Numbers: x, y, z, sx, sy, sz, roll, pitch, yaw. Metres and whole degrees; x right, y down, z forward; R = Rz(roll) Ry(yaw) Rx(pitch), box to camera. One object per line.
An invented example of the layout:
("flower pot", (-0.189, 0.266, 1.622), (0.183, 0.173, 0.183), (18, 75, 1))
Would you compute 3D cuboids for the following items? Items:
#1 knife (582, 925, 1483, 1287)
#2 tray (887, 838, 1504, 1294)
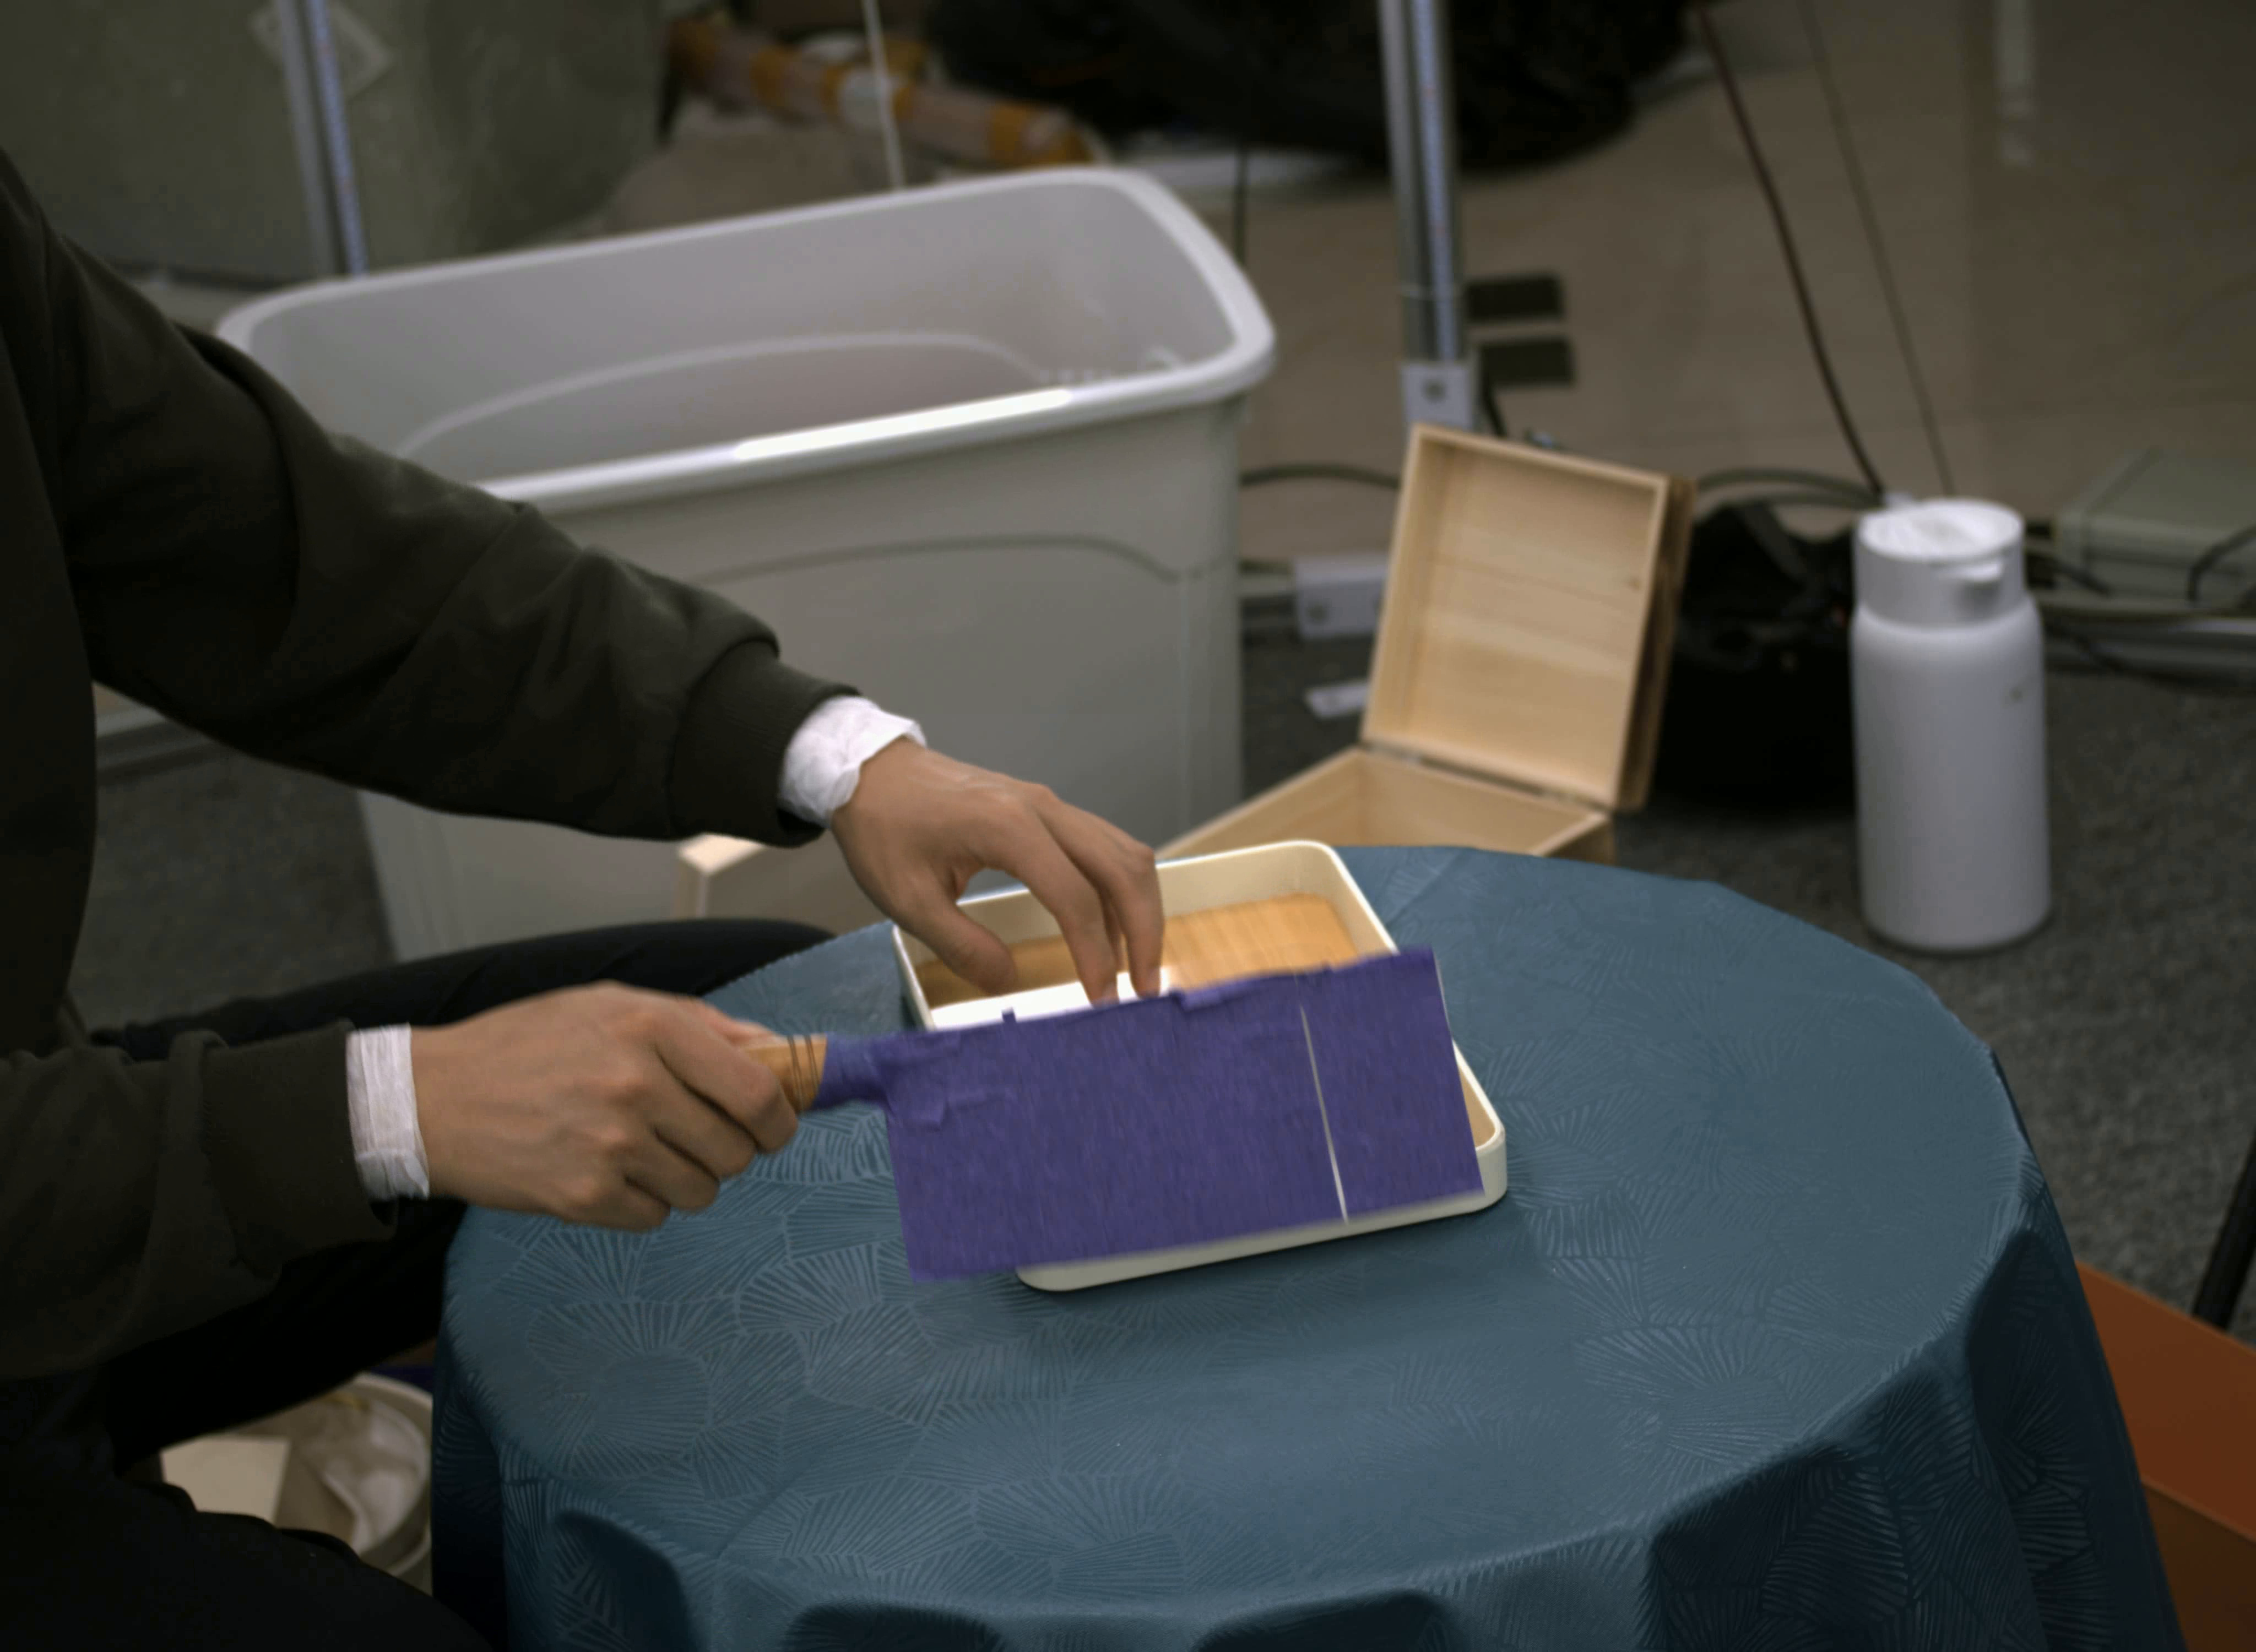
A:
("knife", (-0.032, 0.111, 2.010), (0.314, 0.103, 0.032), (-10, -7, -3))
("tray", (0.021, 0.089, 2.222), (0.191, 0.028, 0.296), (-11, 25, -8))
